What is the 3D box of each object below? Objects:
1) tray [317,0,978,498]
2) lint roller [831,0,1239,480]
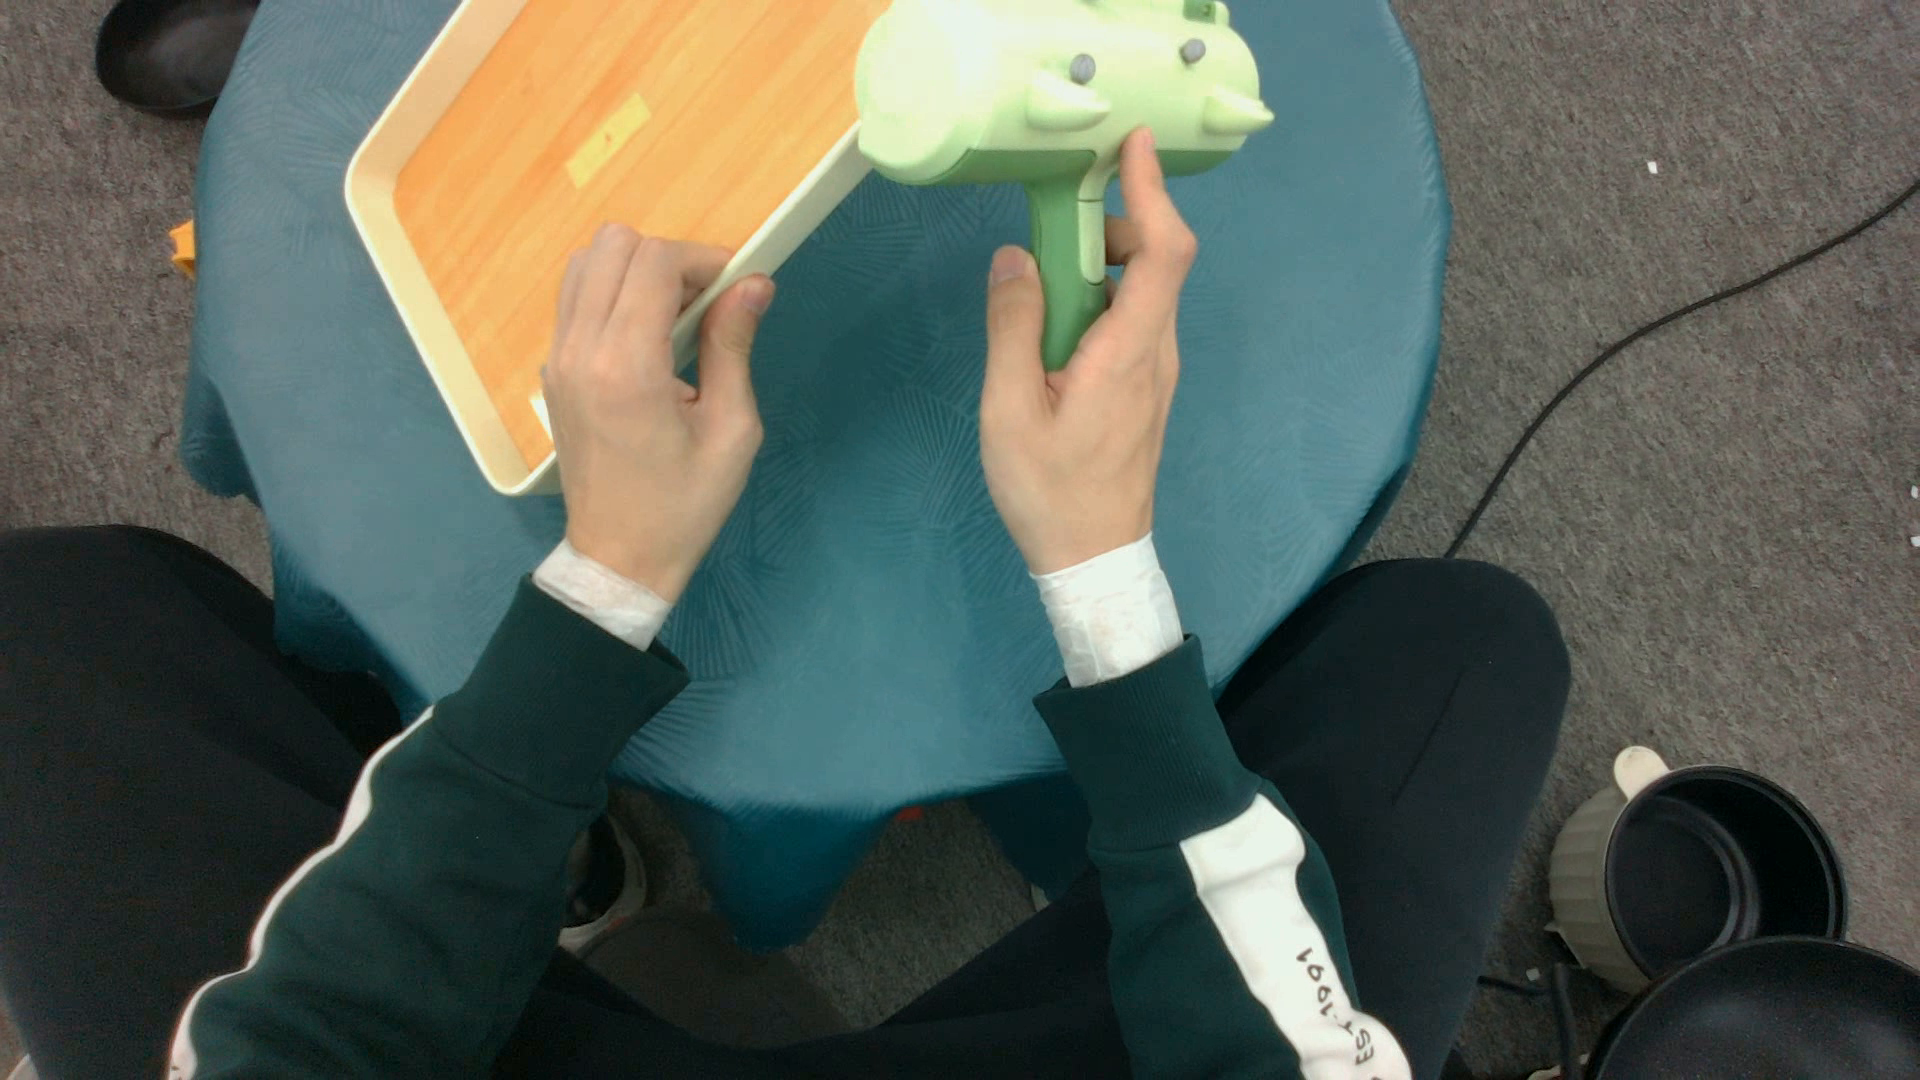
[{"bbox_3d":[-0.143,-0.176,0.558,0.299,0.027,0.192,-41,73,25],"label":"tray"},{"bbox_3d":[0.044,-0.112,0.509,0.082,0.199,0.183,2,104,36],"label":"lint roller"}]
